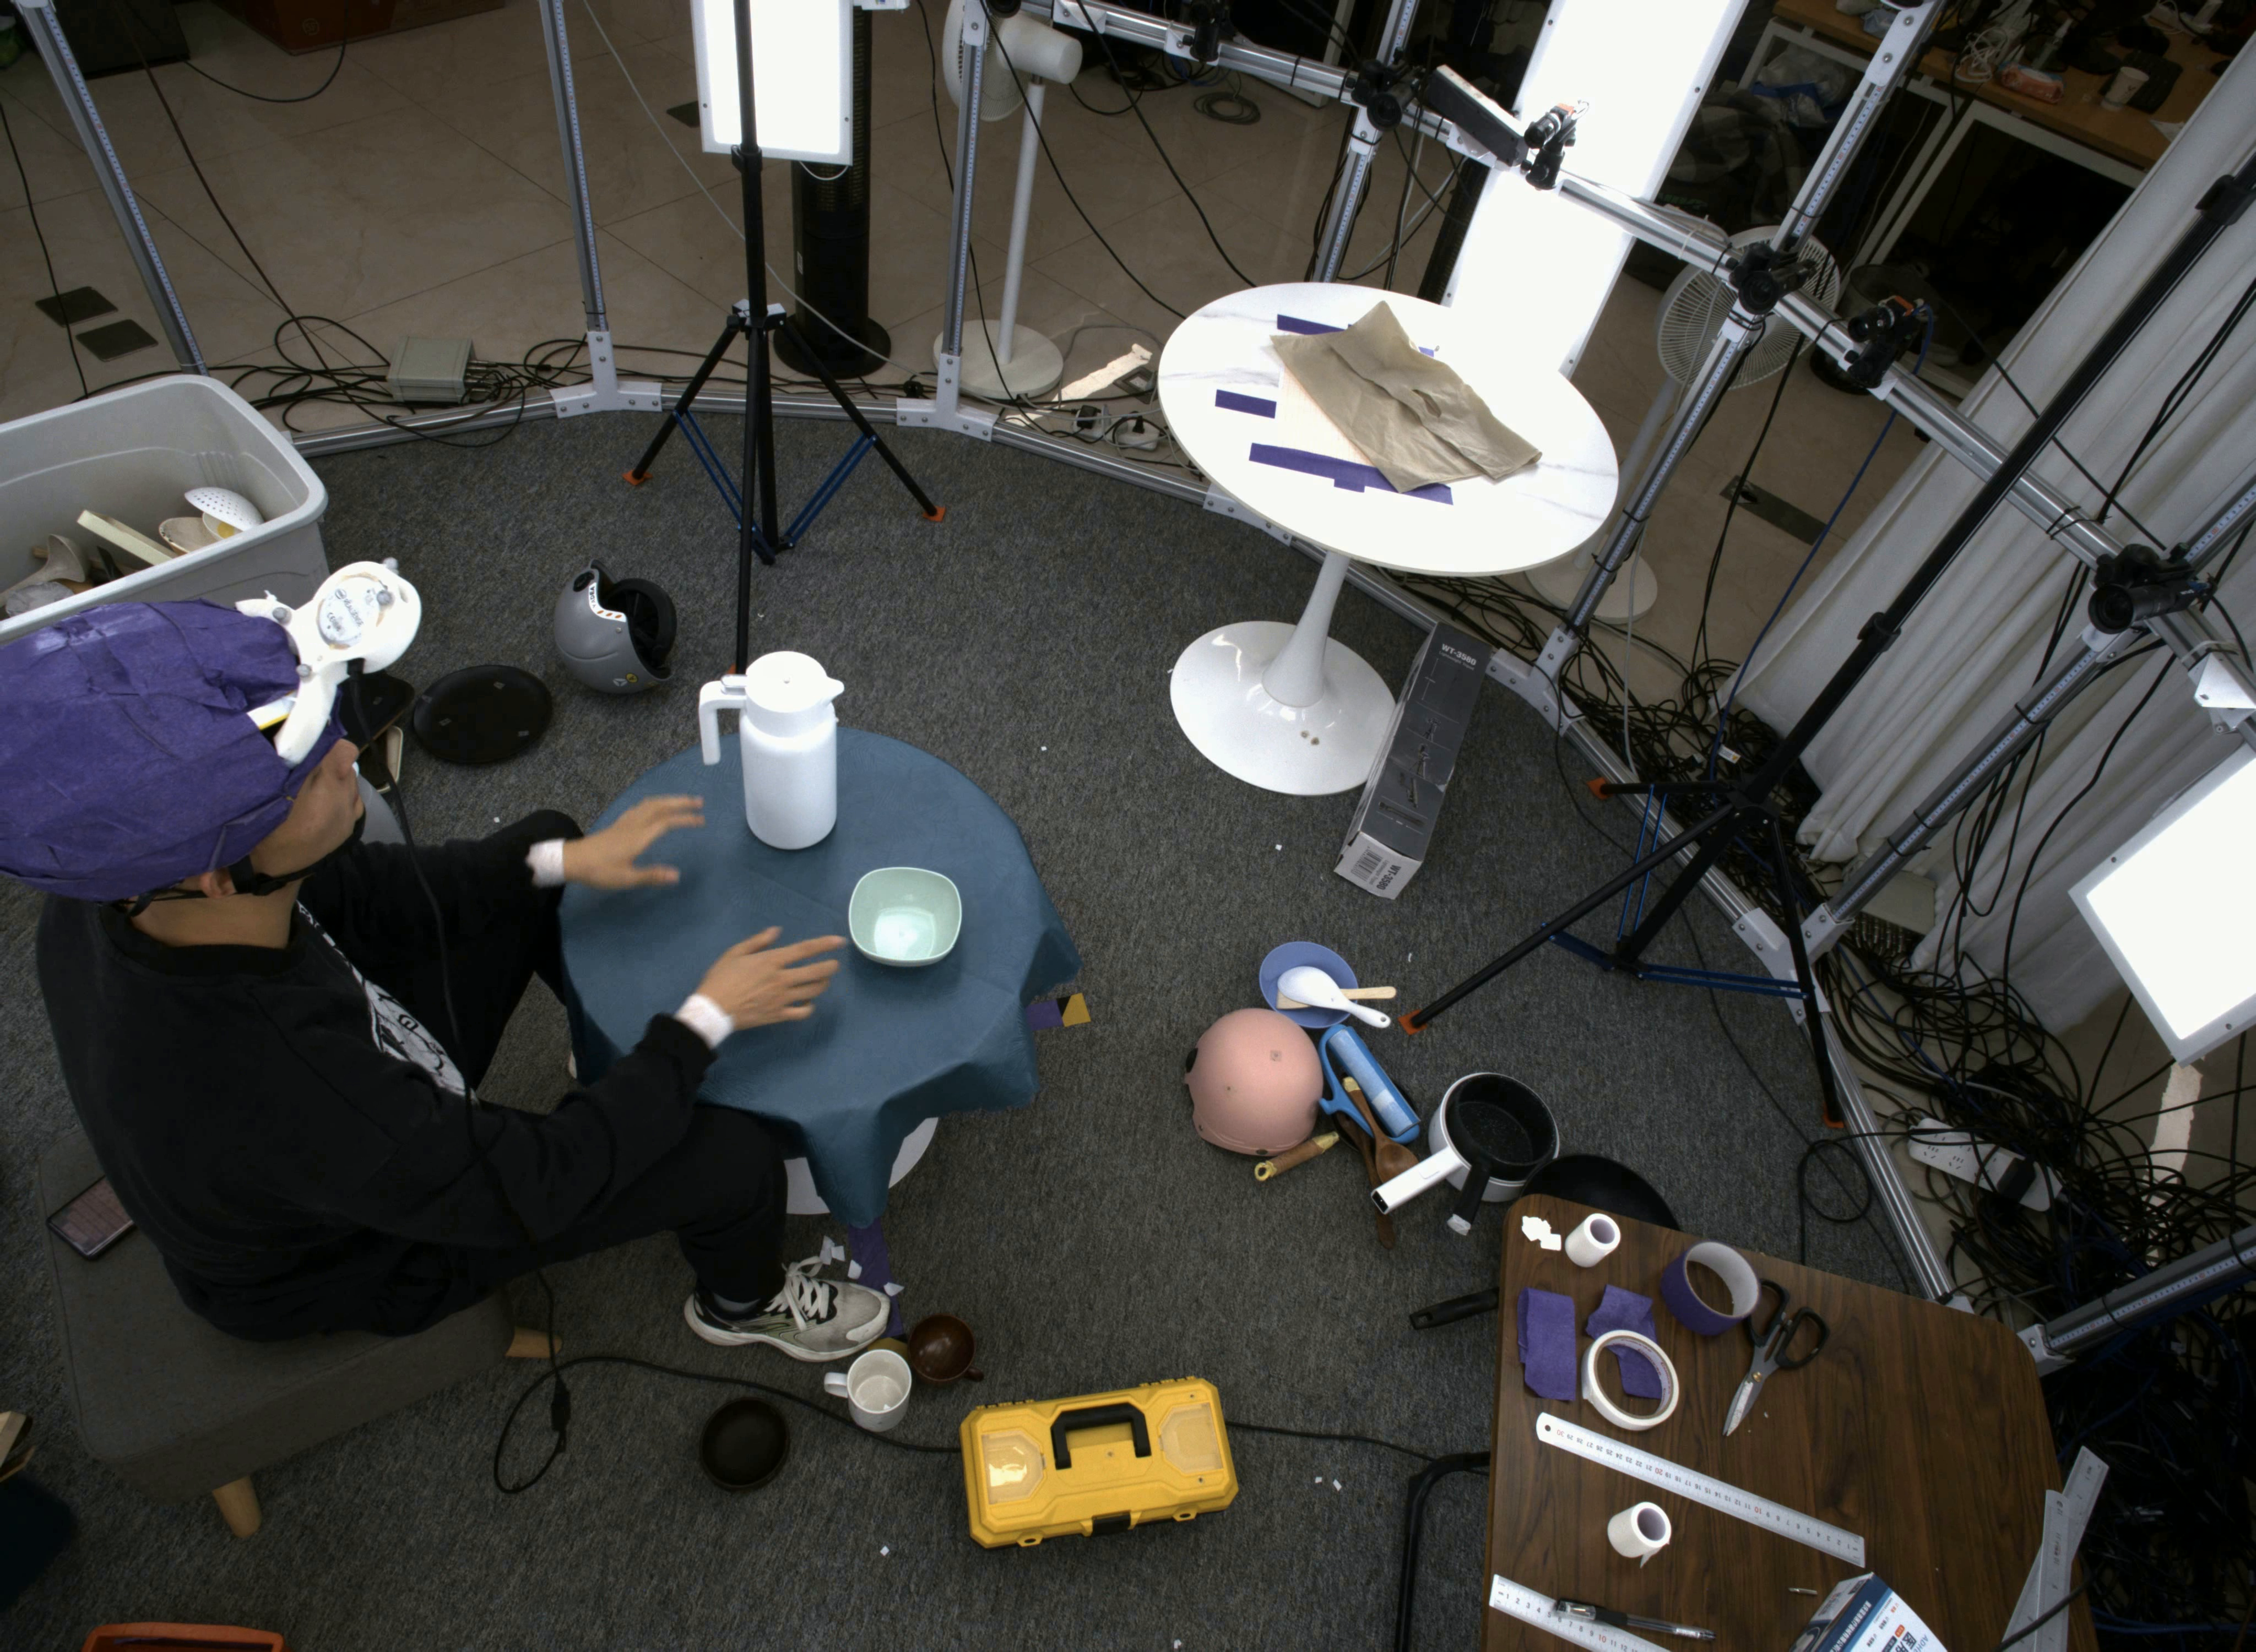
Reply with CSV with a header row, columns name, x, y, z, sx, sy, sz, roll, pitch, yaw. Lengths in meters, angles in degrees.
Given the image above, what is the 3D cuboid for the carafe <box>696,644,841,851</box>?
name,x,y,z,sx,sy,sz,roll,pitch,yaw
carafe,-0.444,-0.093,1.613,0.173,0.274,0.121,-3,55,-14

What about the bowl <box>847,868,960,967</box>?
name,x,y,z,sx,sy,sz,roll,pitch,yaw
bowl,-0.282,0.124,1.631,0.151,0.060,0.149,8,52,-9
